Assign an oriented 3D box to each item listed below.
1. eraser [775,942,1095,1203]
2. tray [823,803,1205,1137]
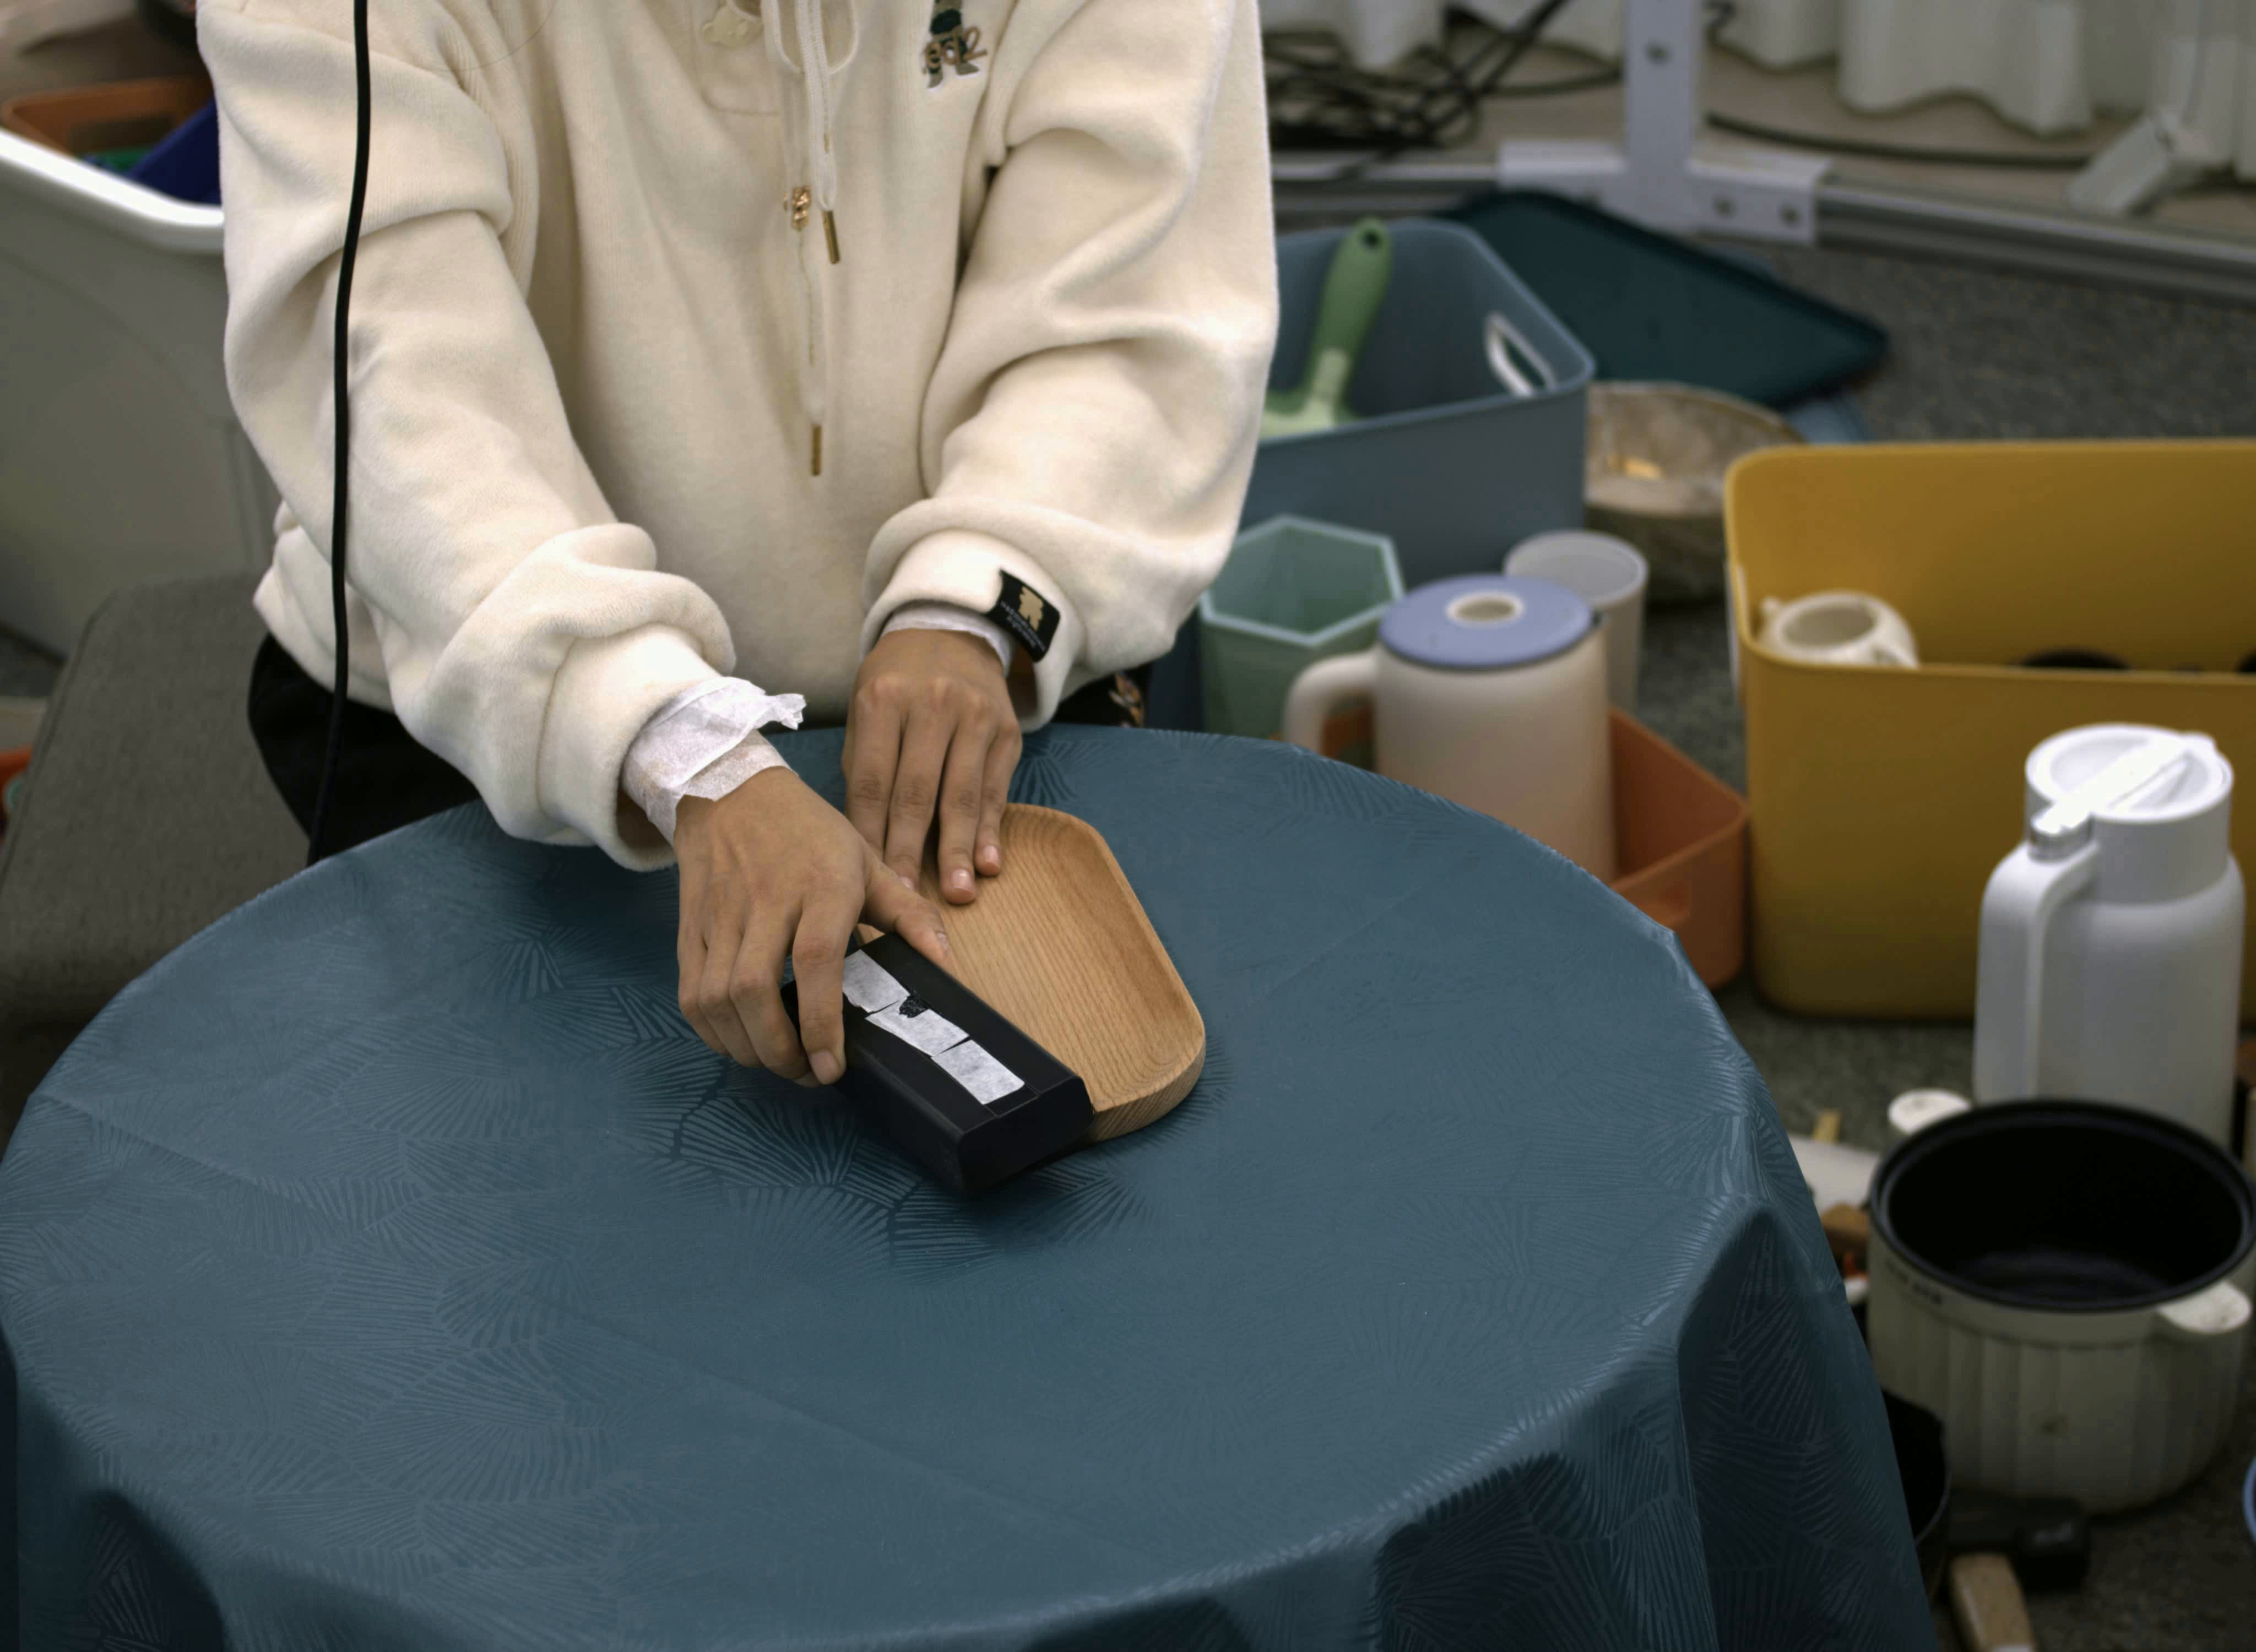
[{"bbox_3d":[-0.065,0.082,1.886,0.054,0.030,0.126,-21,34,-26],"label":"eraser"},{"bbox_3d":[-0.042,0.050,1.987,0.102,0.020,0.233,-10,27,-13],"label":"tray"}]
